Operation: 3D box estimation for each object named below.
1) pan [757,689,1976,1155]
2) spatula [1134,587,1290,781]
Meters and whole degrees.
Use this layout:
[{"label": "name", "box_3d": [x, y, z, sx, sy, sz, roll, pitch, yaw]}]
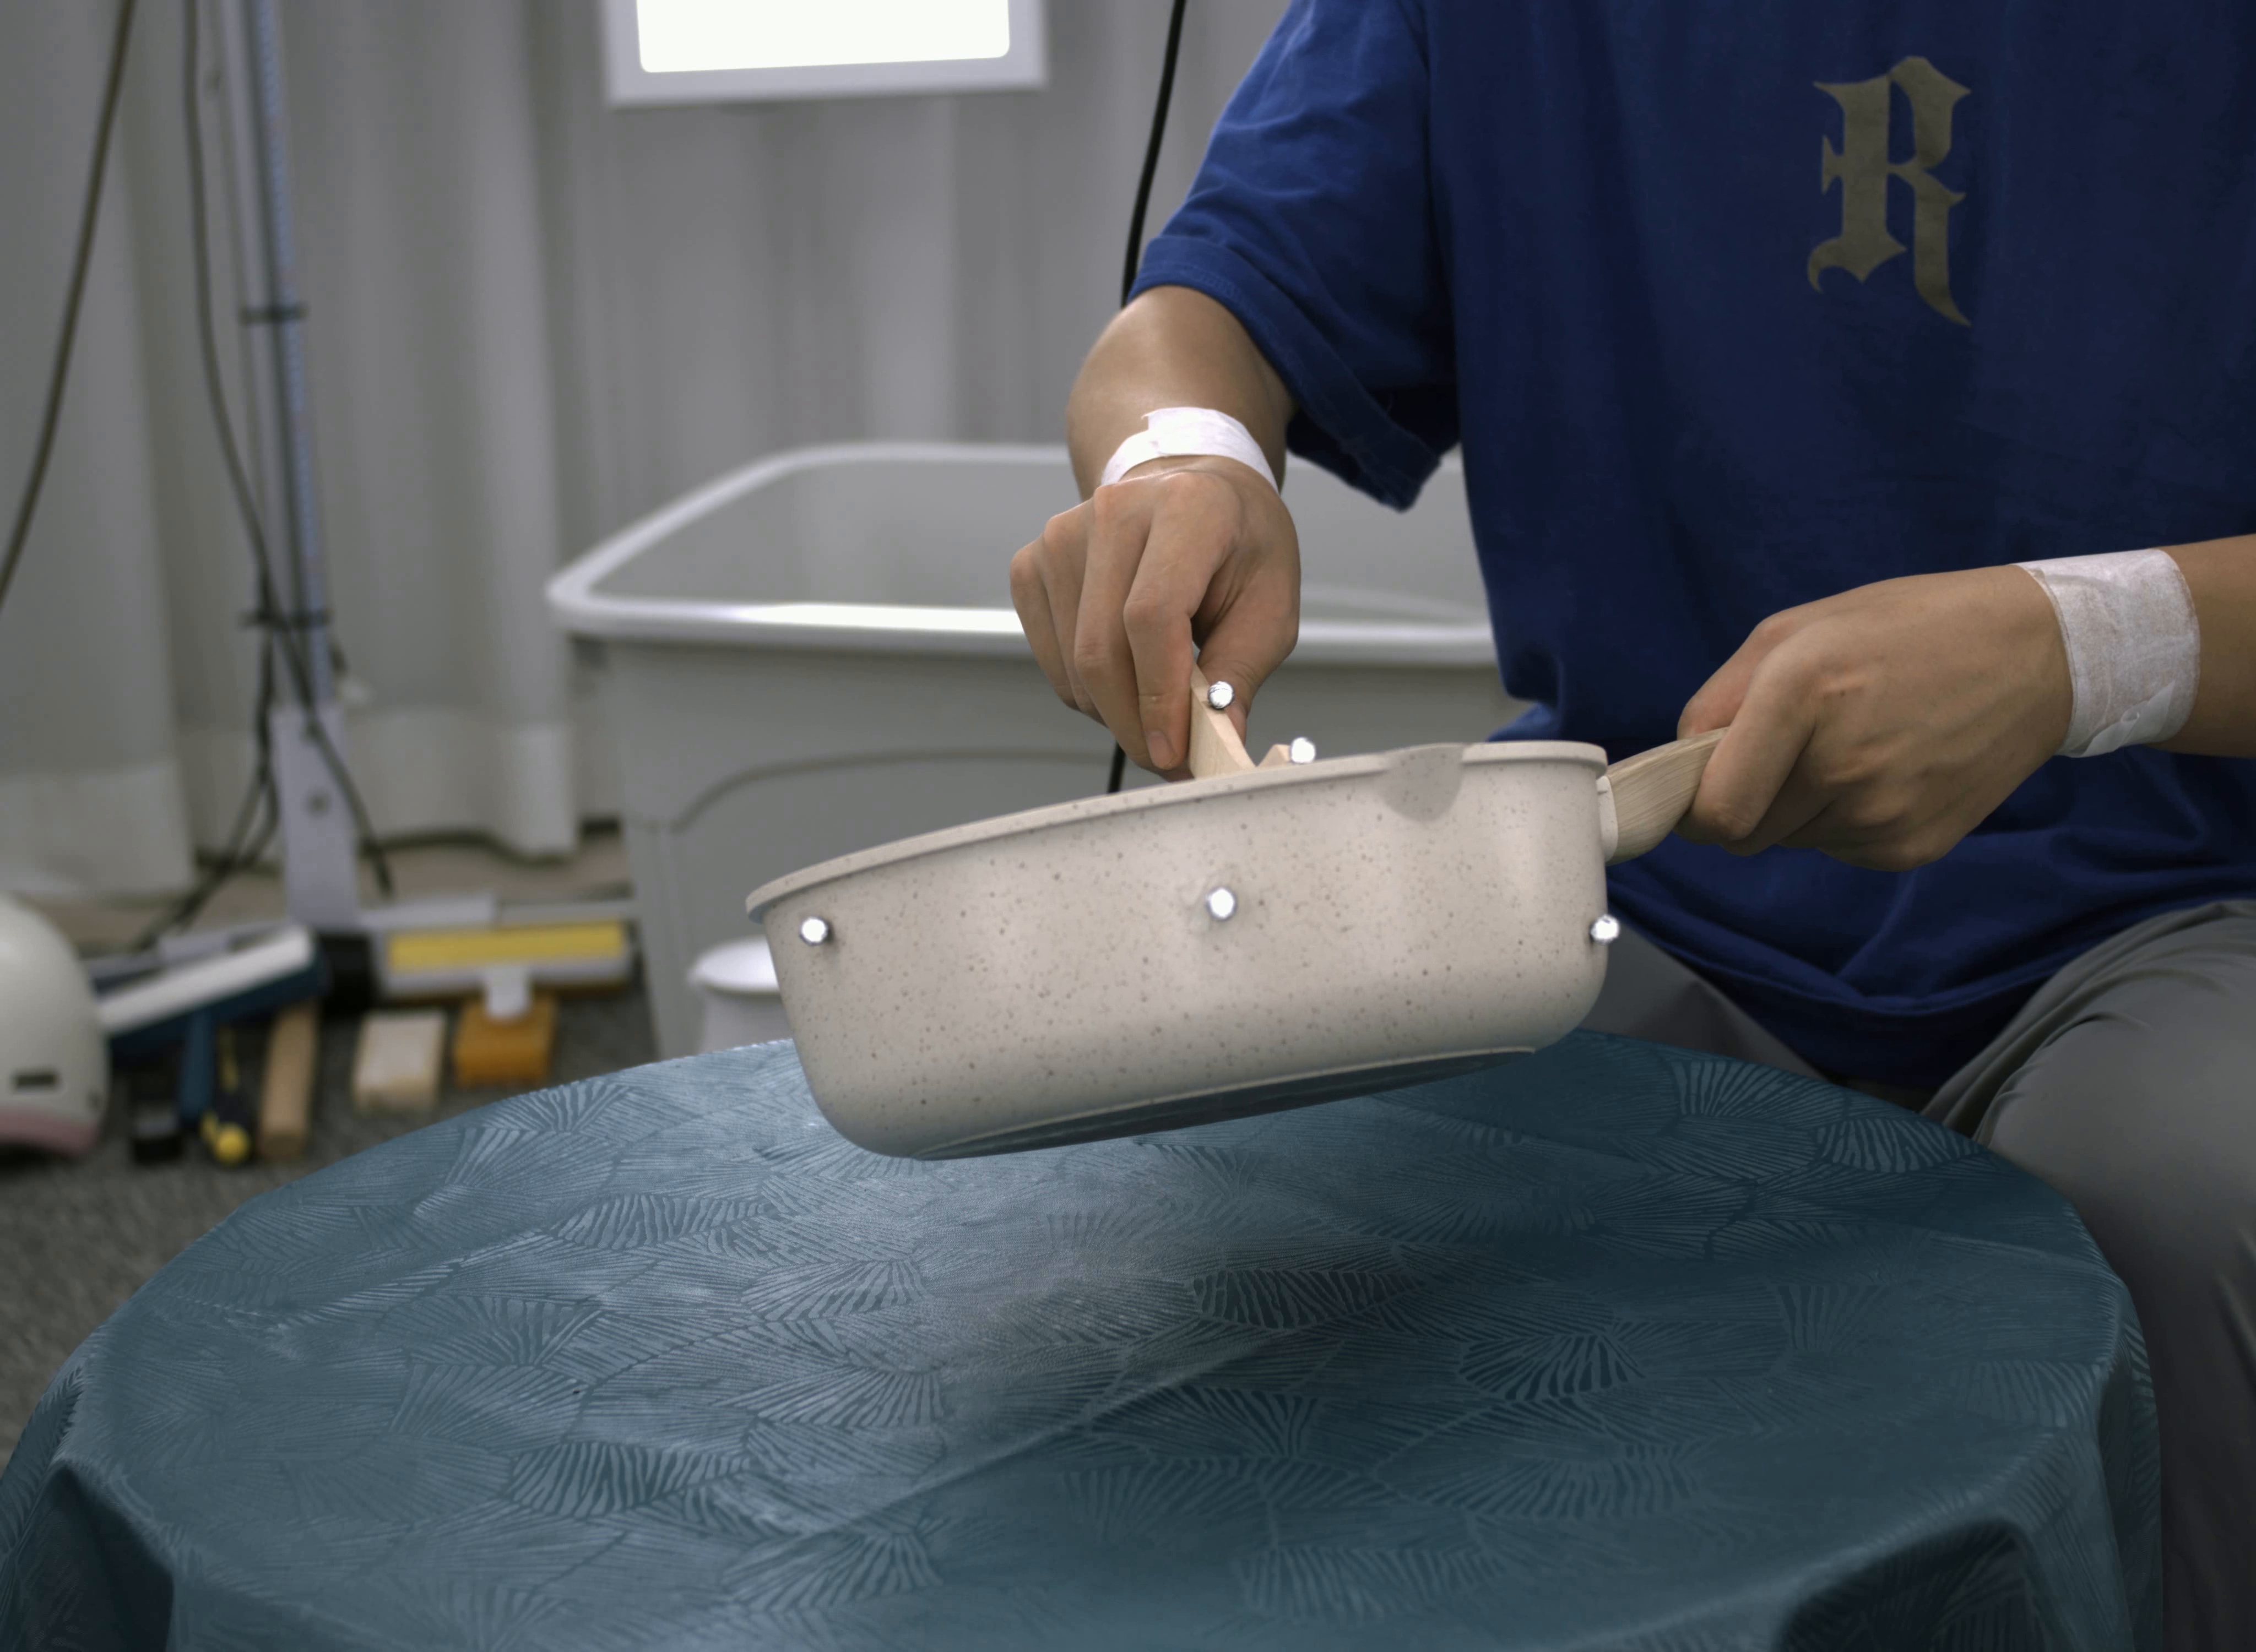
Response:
[{"label": "pan", "box_3d": [0.097, 0.023, 1.615, 0.432, 0.102, 0.263, -5, -9, -35]}, {"label": "spatula", "box_3d": [0.030, -0.017, 1.651, 0.010, 0.072, 0.296, 0, 21, -11]}]
